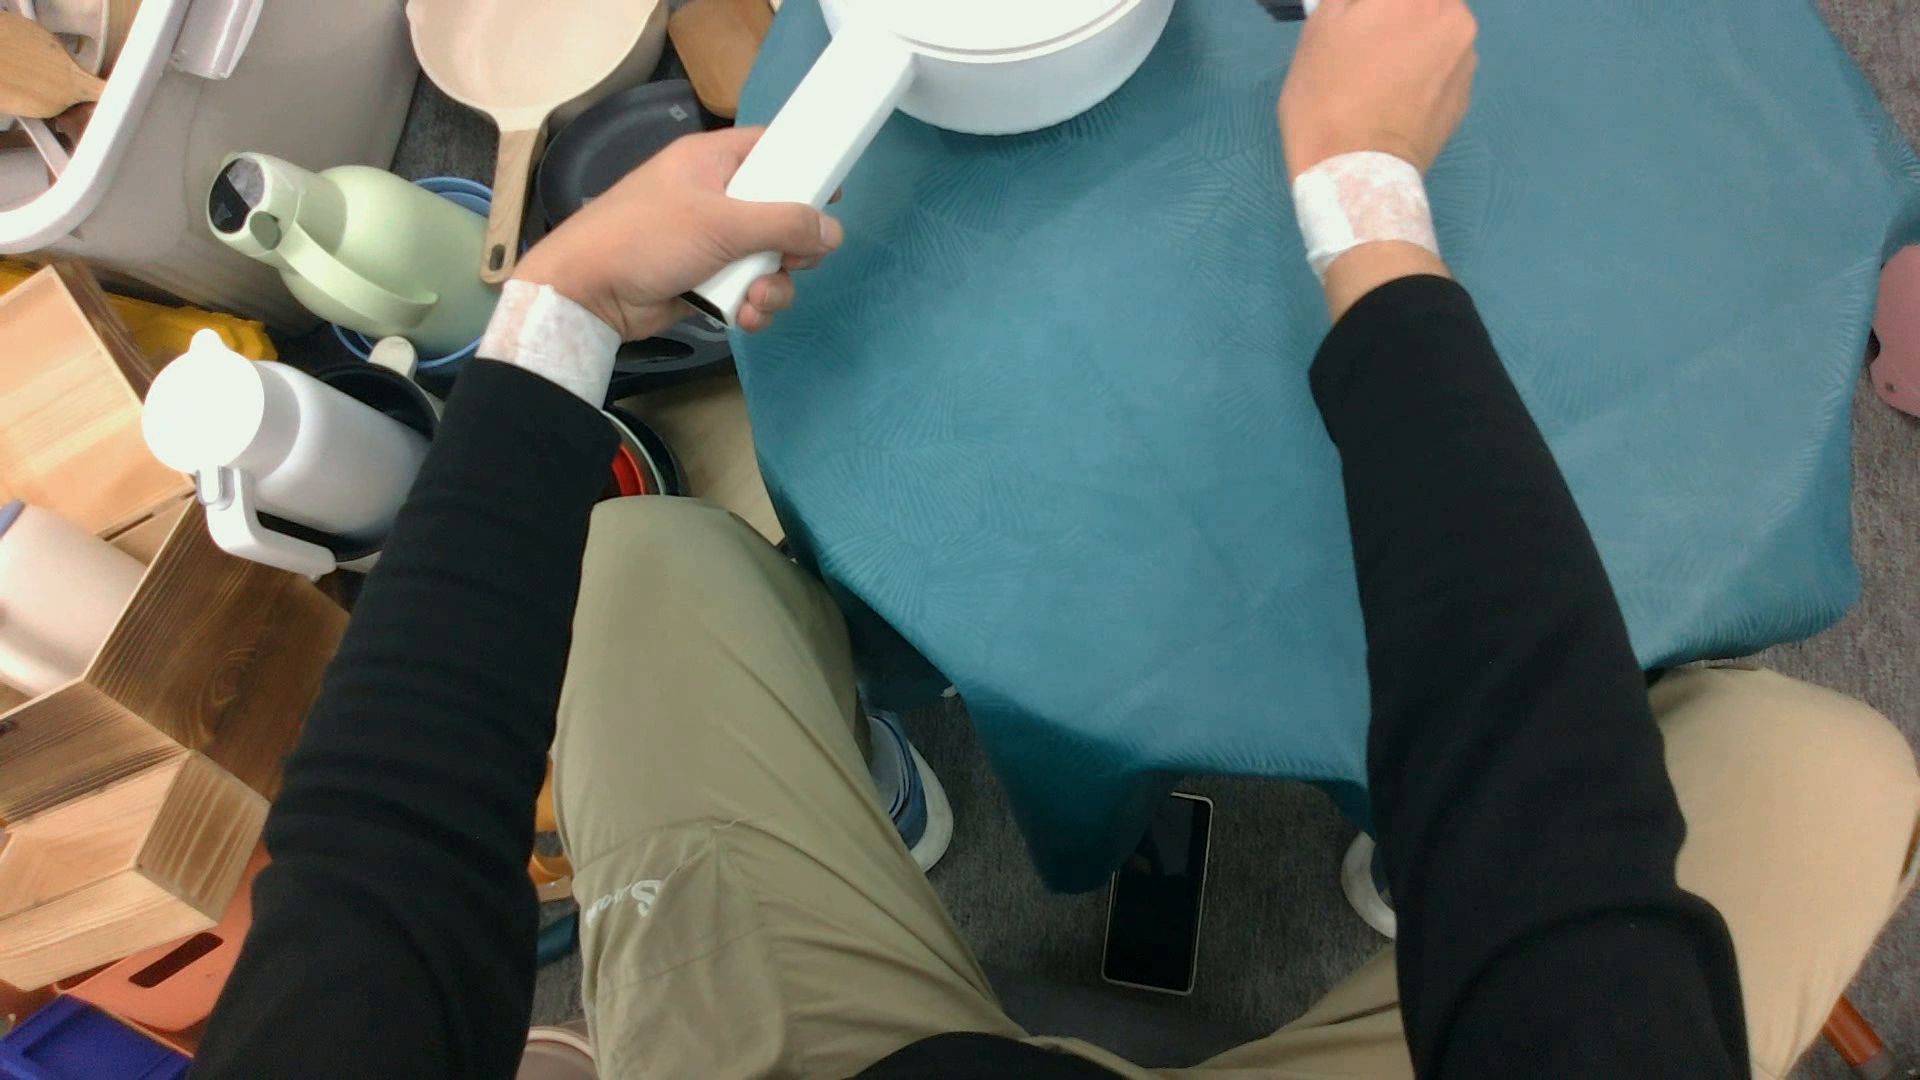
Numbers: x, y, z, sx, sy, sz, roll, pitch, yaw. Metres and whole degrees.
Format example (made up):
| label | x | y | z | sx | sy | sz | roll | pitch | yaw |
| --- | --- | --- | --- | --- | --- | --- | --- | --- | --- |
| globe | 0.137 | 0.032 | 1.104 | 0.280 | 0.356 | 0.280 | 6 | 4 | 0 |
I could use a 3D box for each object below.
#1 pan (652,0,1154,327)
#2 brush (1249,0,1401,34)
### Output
| label | x | y | z | sx | sy | sz | roll | pitch | yaw |
| --- | --- | --- | --- | --- | --- | --- | --- | --- | --- |
| pan | -0.032 | -0.252 | 0.712 | 0.201 | 0.102 | 0.355 | 32 | 81 | 7 |
| brush | 0.181 | -0.285 | 0.637 | 0.072 | 0.050 | 0.099 | 30 | 123 | 39 |
